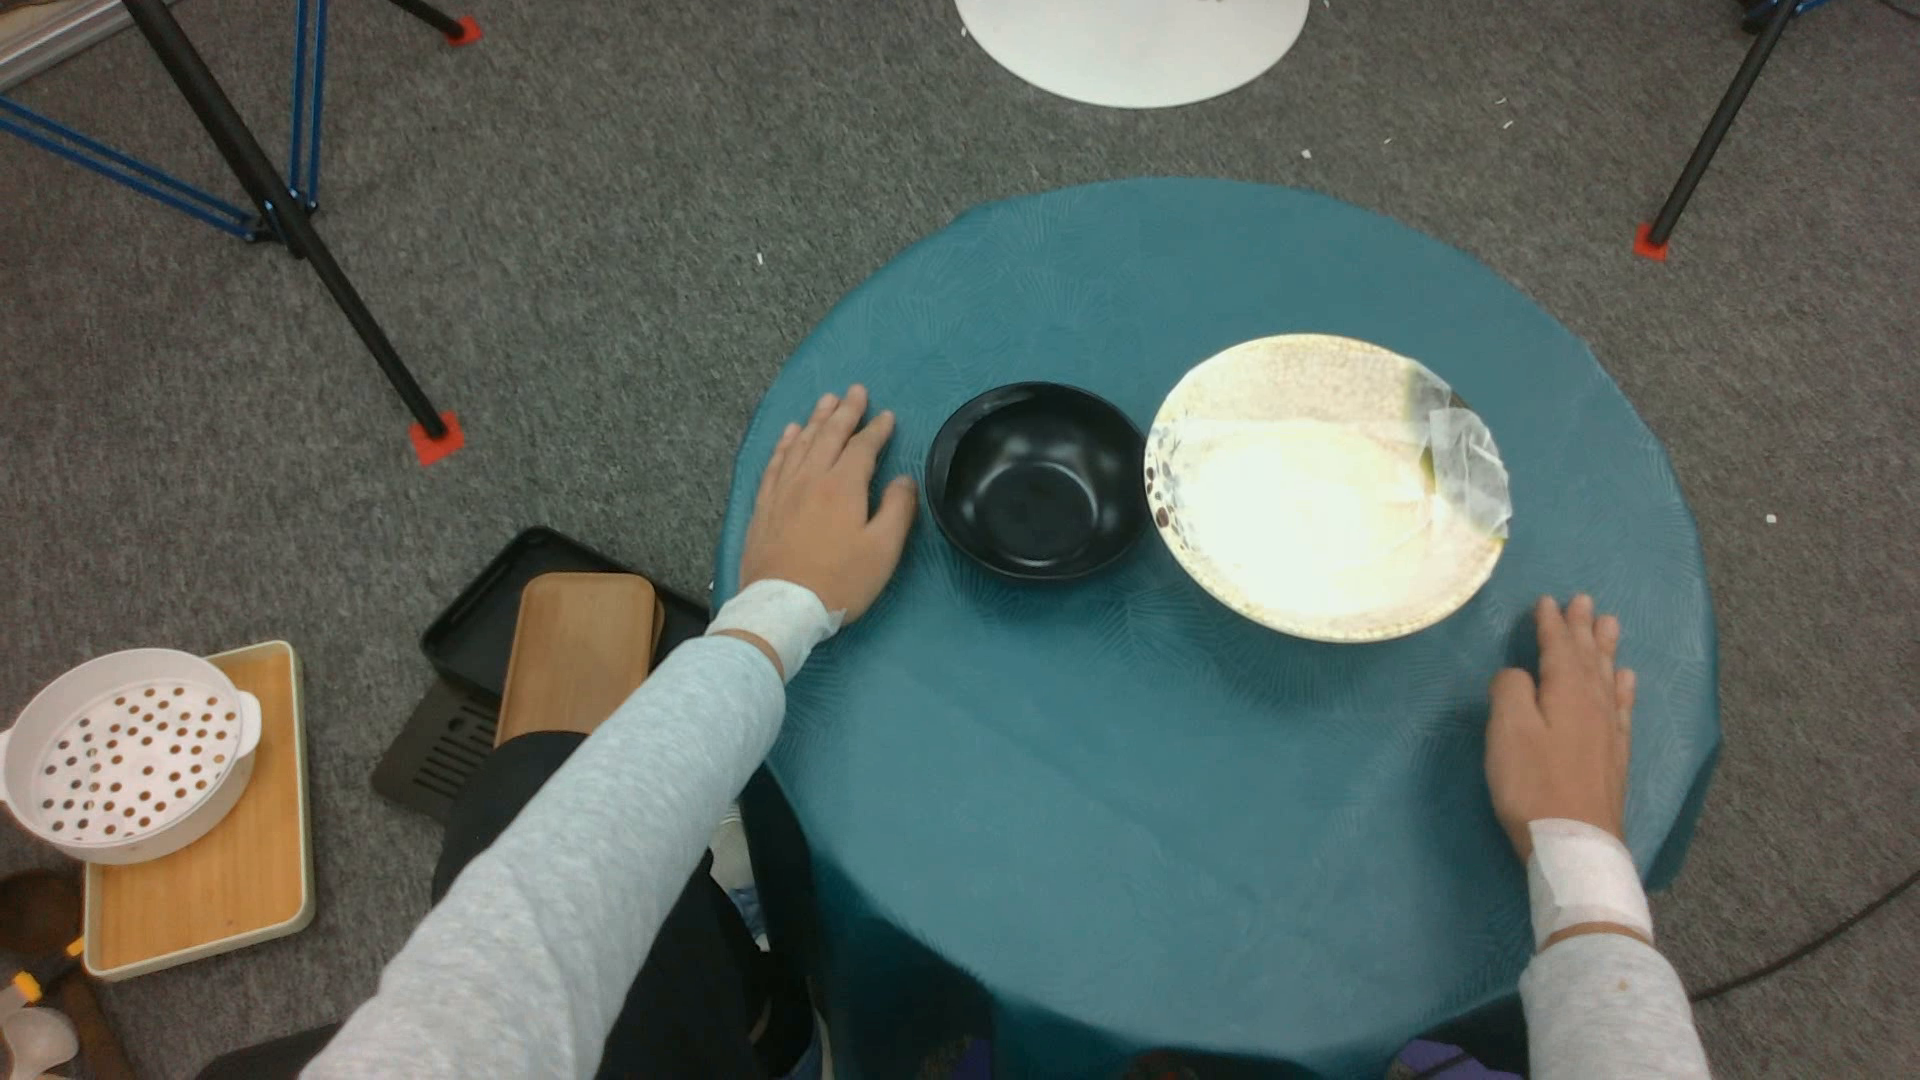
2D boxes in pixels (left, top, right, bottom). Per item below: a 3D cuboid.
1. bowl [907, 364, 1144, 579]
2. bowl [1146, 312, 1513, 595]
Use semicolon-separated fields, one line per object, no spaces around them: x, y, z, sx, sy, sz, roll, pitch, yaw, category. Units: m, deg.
0.039;-0.035;0.830;0.140;0.049;0.140;-1;66;2;bowl
0.206;-0.035;0.802;0.204;0.077;0.205;0;54;-1;bowl
